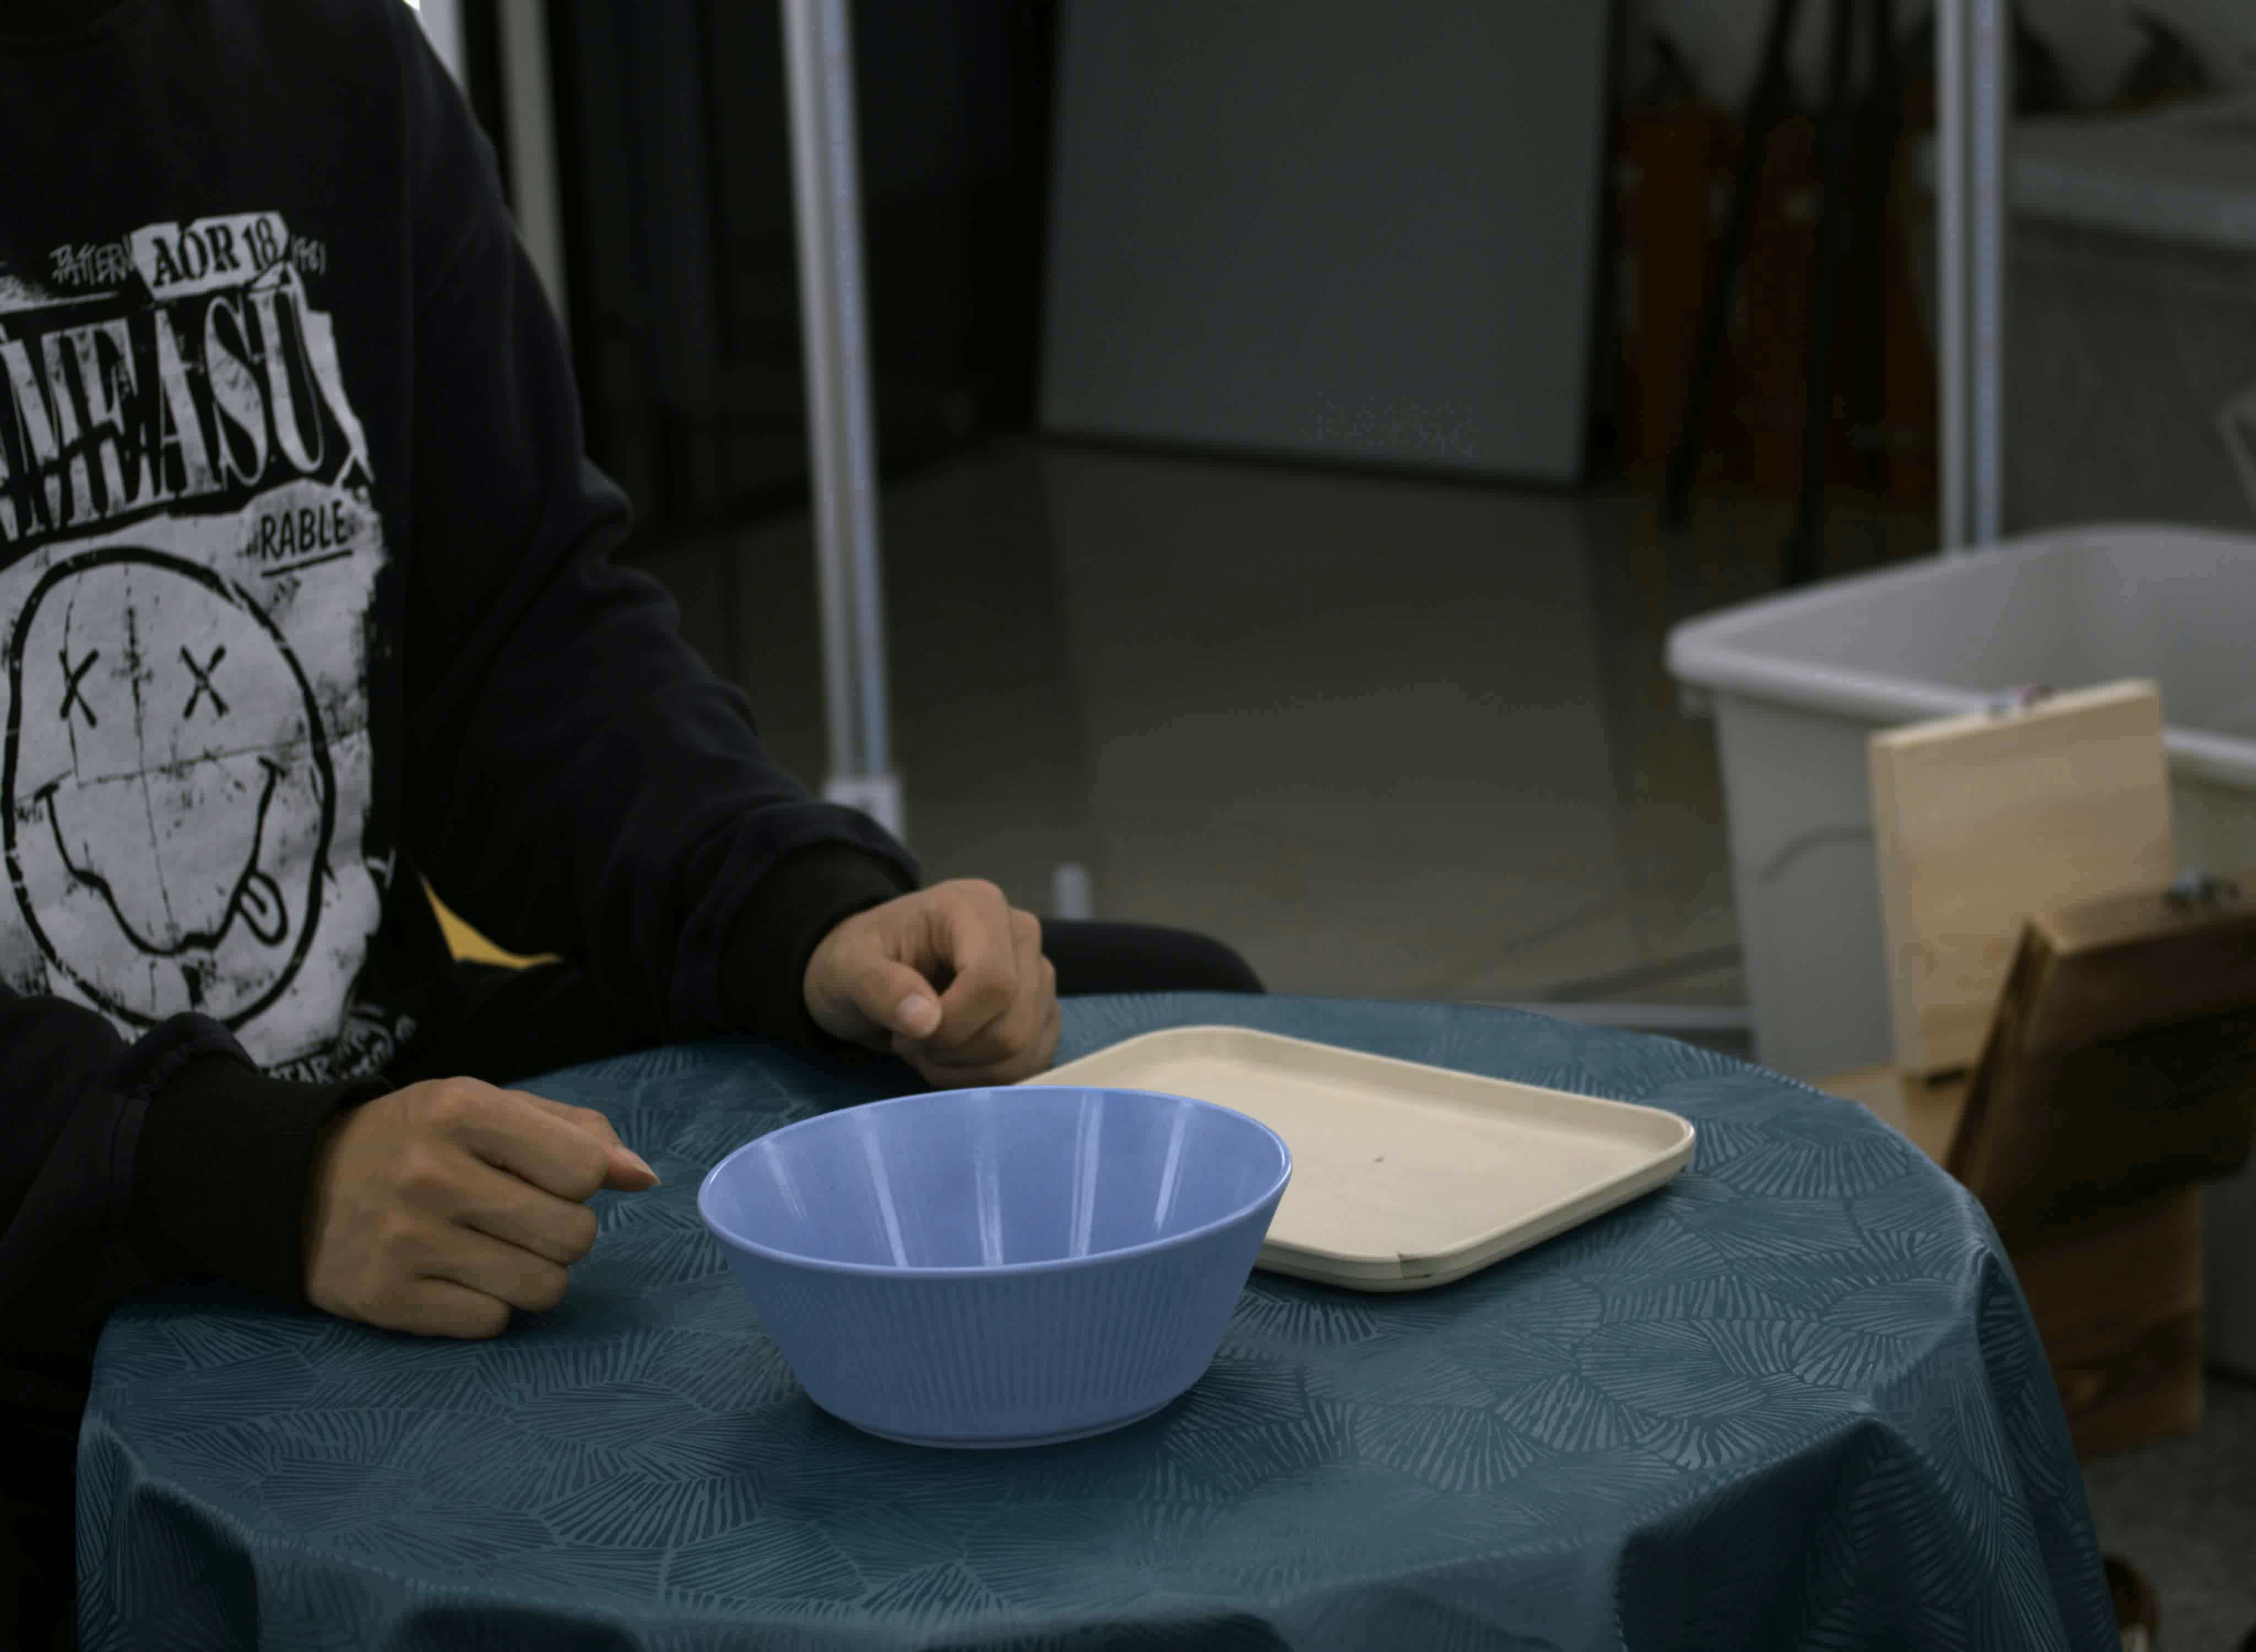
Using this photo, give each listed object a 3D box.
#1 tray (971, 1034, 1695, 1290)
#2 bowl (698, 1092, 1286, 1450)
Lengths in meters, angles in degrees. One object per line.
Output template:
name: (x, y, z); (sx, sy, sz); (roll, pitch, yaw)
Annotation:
tray: (0.054, 0.109, 1.767); (0.242, 0.017, 0.168); (9, 18, 42)
bowl: (-0.038, 0.133, 1.586); (0.174, 0.071, 0.176); (-4, 13, 0)
